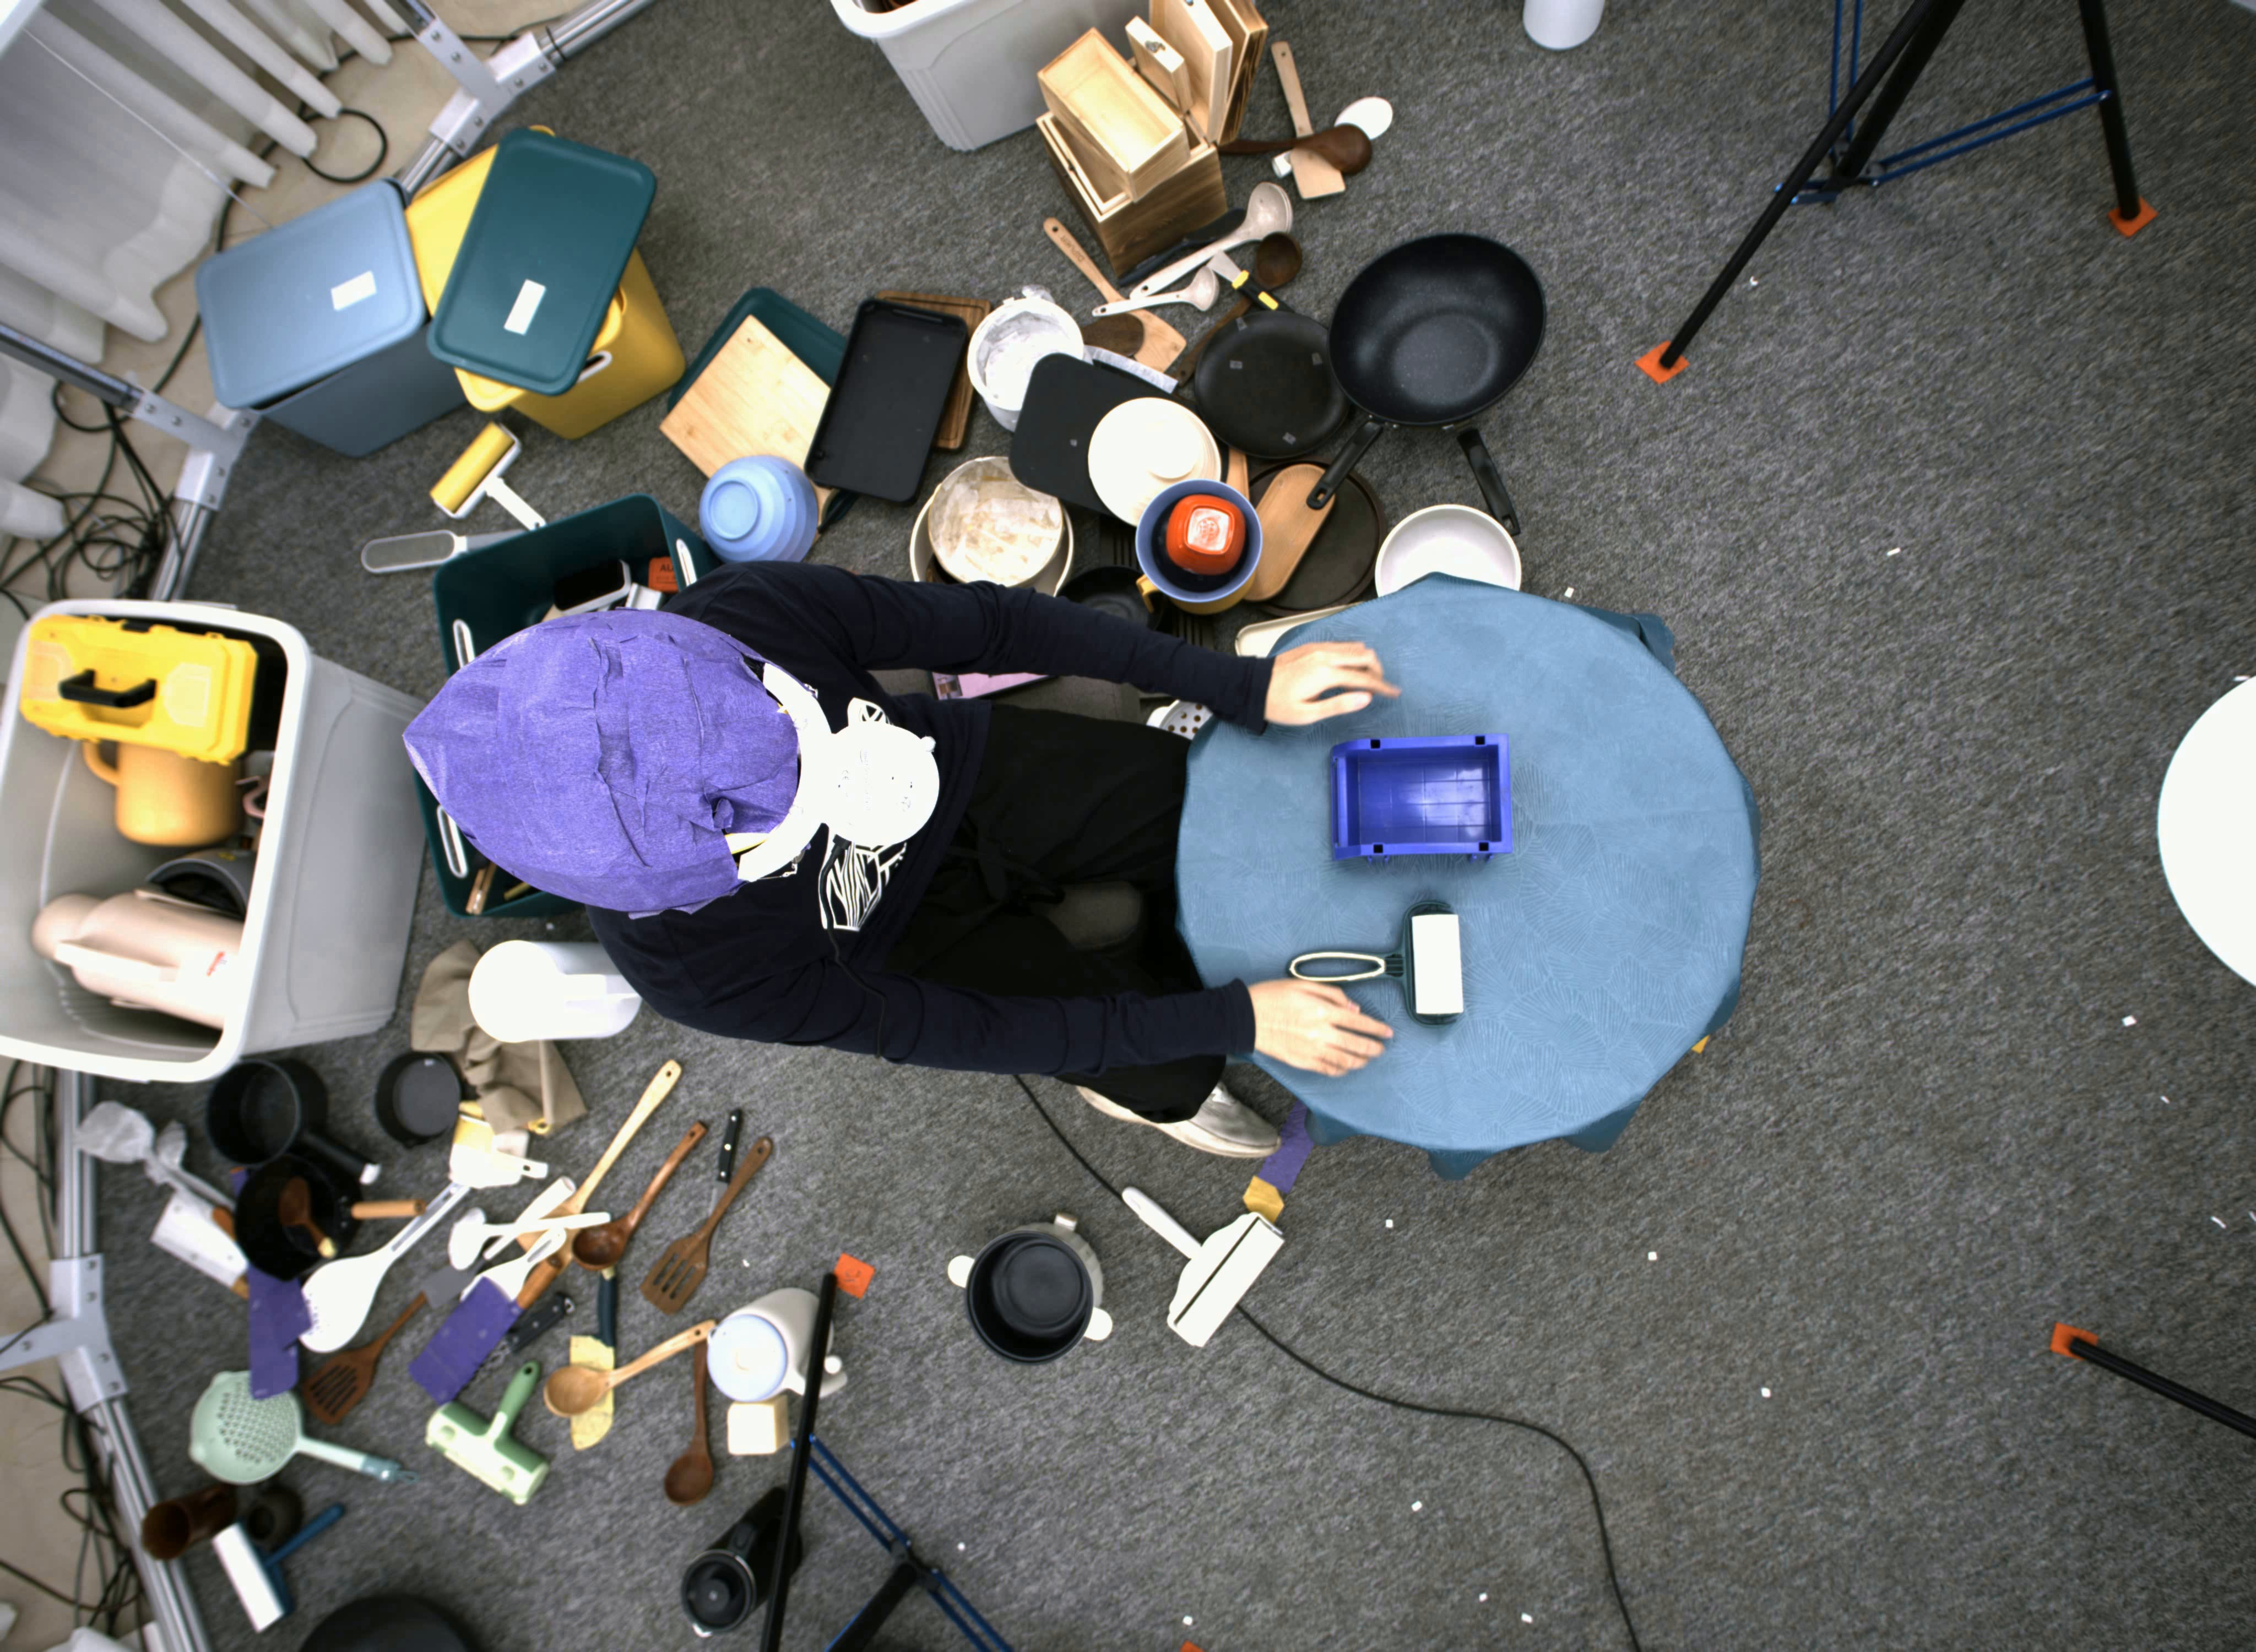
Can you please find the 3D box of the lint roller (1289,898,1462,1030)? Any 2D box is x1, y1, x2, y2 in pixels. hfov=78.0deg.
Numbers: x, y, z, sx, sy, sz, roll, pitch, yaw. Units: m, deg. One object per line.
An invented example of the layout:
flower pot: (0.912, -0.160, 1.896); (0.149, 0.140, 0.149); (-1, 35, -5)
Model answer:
lint roller: (0.254, 0.145, 1.440); (0.181, 0.048, 0.134); (-3, 86, 15)

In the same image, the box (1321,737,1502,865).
box: (0.290, -0.026, 1.420); (0.180, 0.082, 0.124); (0, 87, 8)
